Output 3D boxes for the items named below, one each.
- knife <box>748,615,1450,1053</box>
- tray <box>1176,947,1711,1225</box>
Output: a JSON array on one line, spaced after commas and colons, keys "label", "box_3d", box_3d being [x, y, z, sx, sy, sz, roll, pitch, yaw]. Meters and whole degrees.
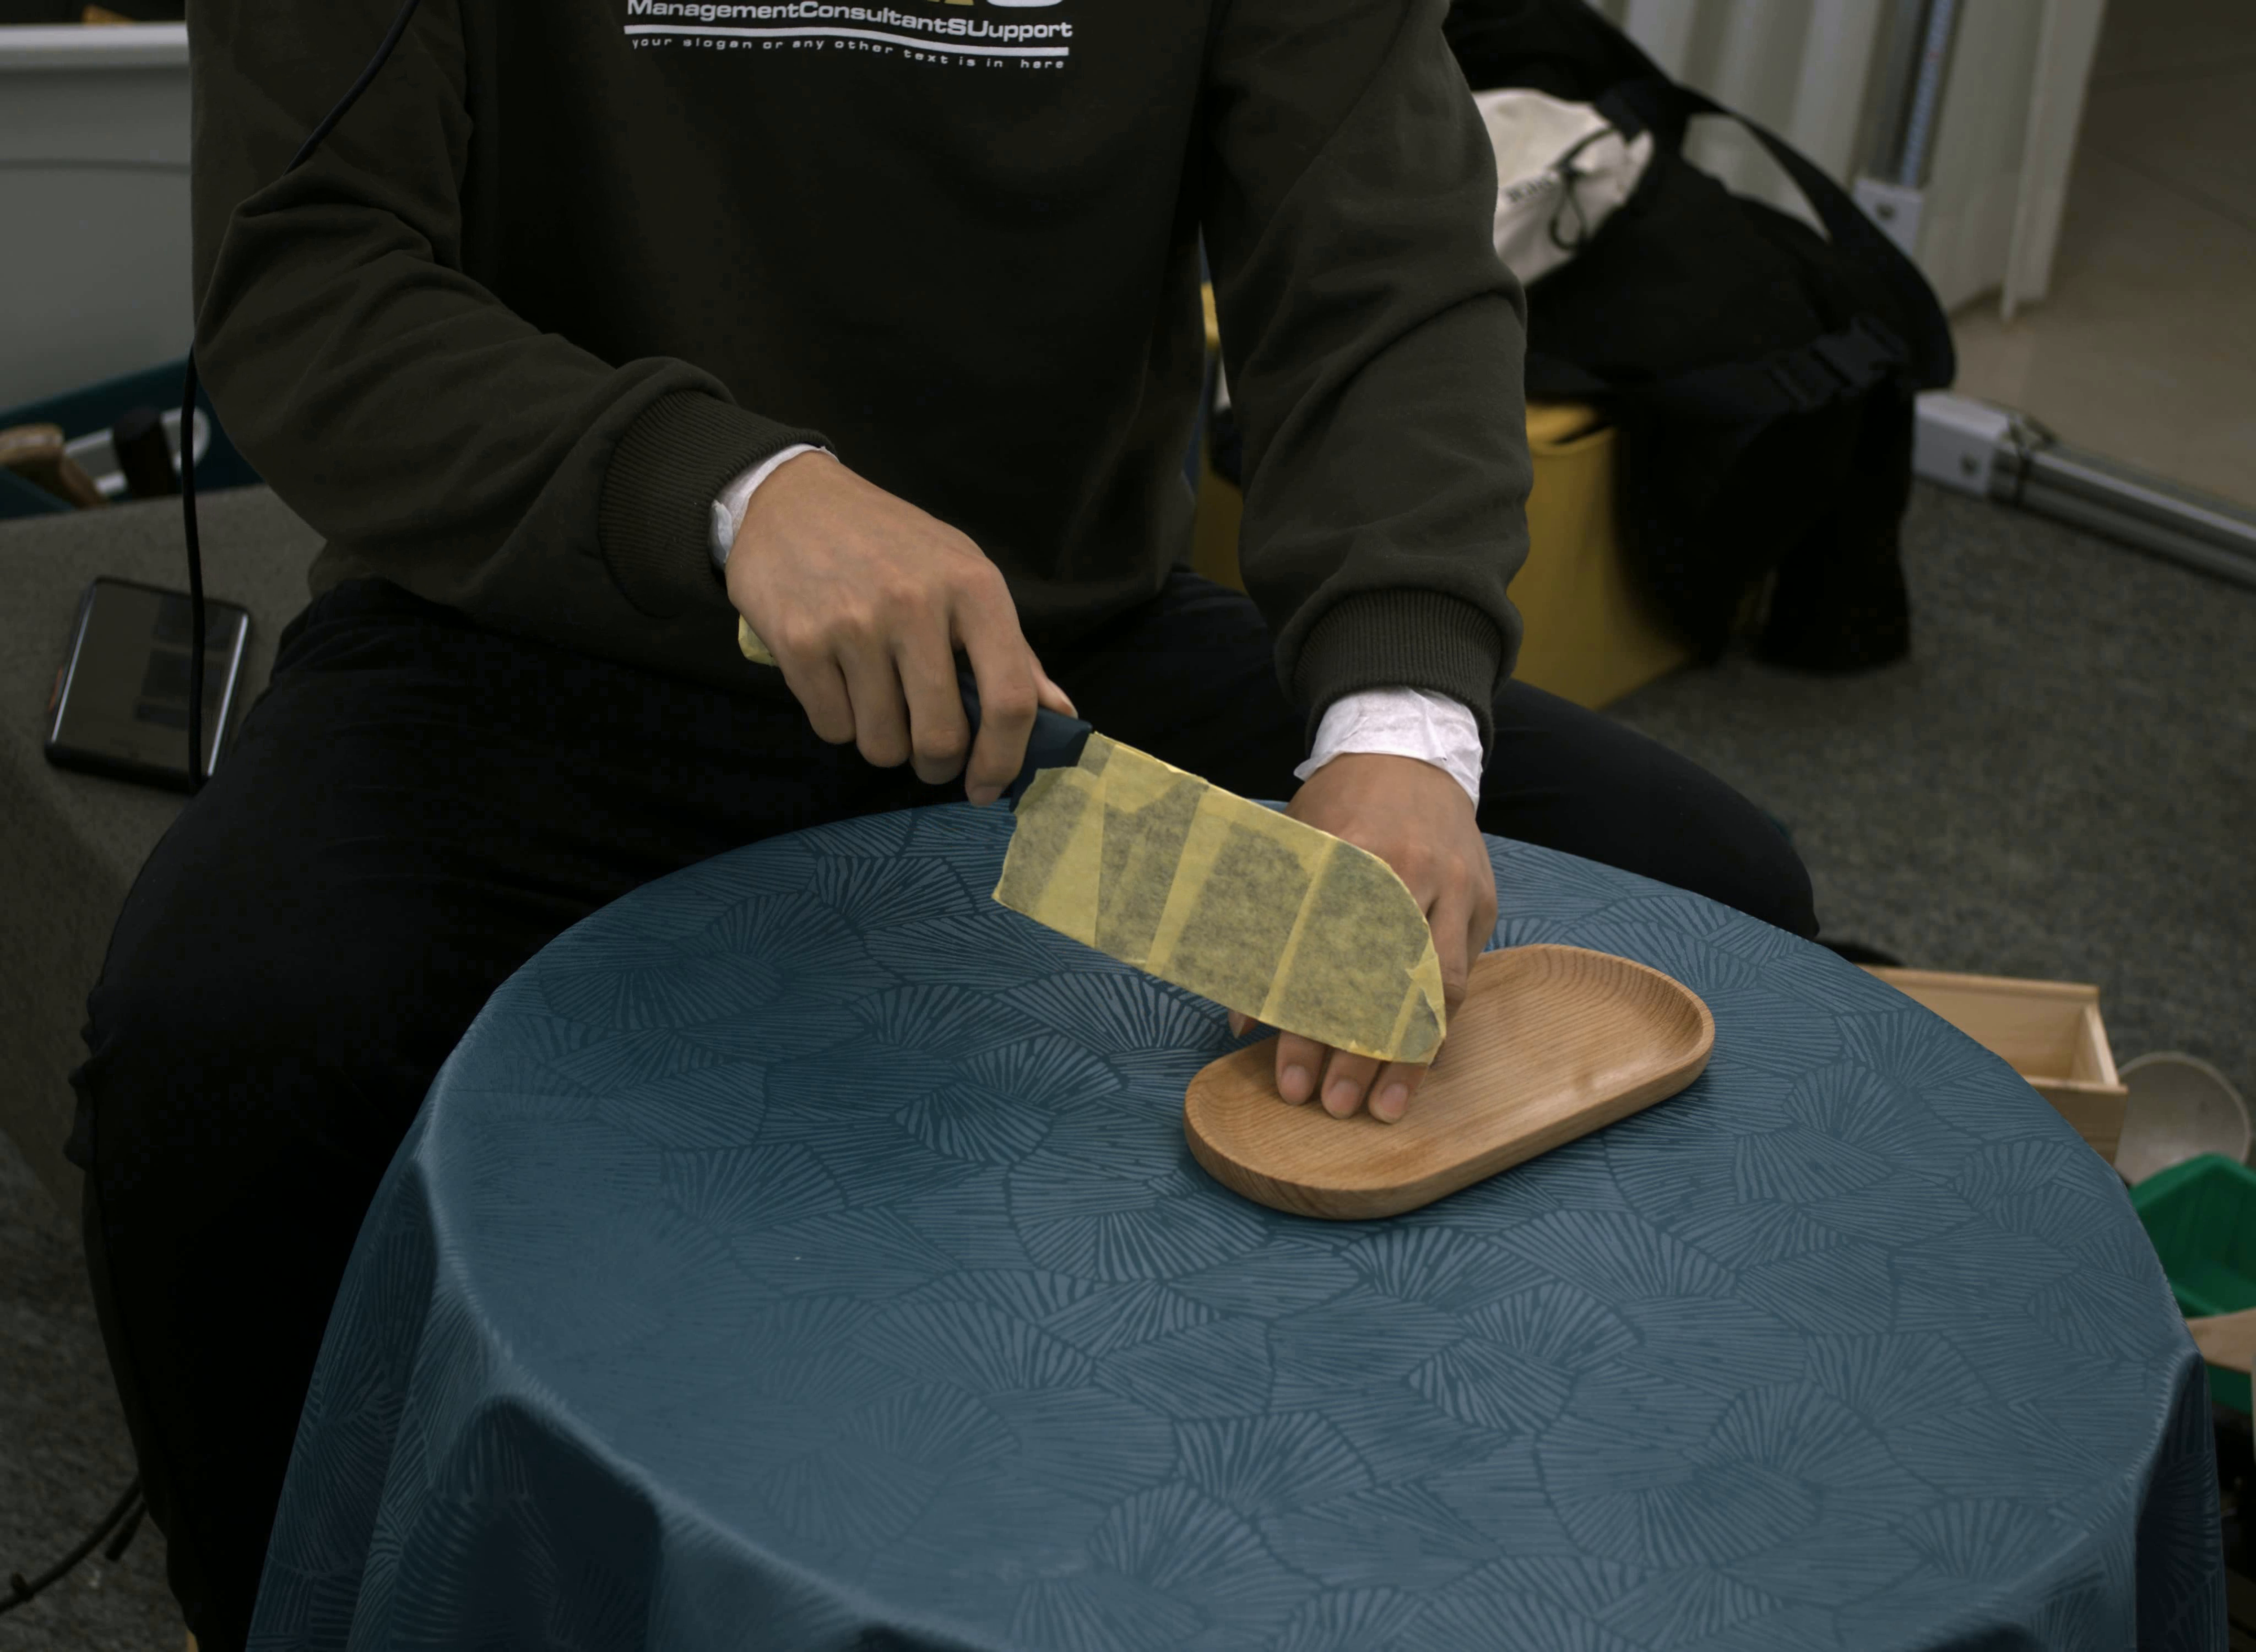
[{"label": "knife", "box_3d": [-0.014, 0.002, 1.866, 0.290, 0.081, 0.027, 27, 15, 17]}, {"label": "tray", "box_3d": [0.113, 0.091, 1.879, 0.230, 0.020, 0.102, -21, 36, -40]}]
